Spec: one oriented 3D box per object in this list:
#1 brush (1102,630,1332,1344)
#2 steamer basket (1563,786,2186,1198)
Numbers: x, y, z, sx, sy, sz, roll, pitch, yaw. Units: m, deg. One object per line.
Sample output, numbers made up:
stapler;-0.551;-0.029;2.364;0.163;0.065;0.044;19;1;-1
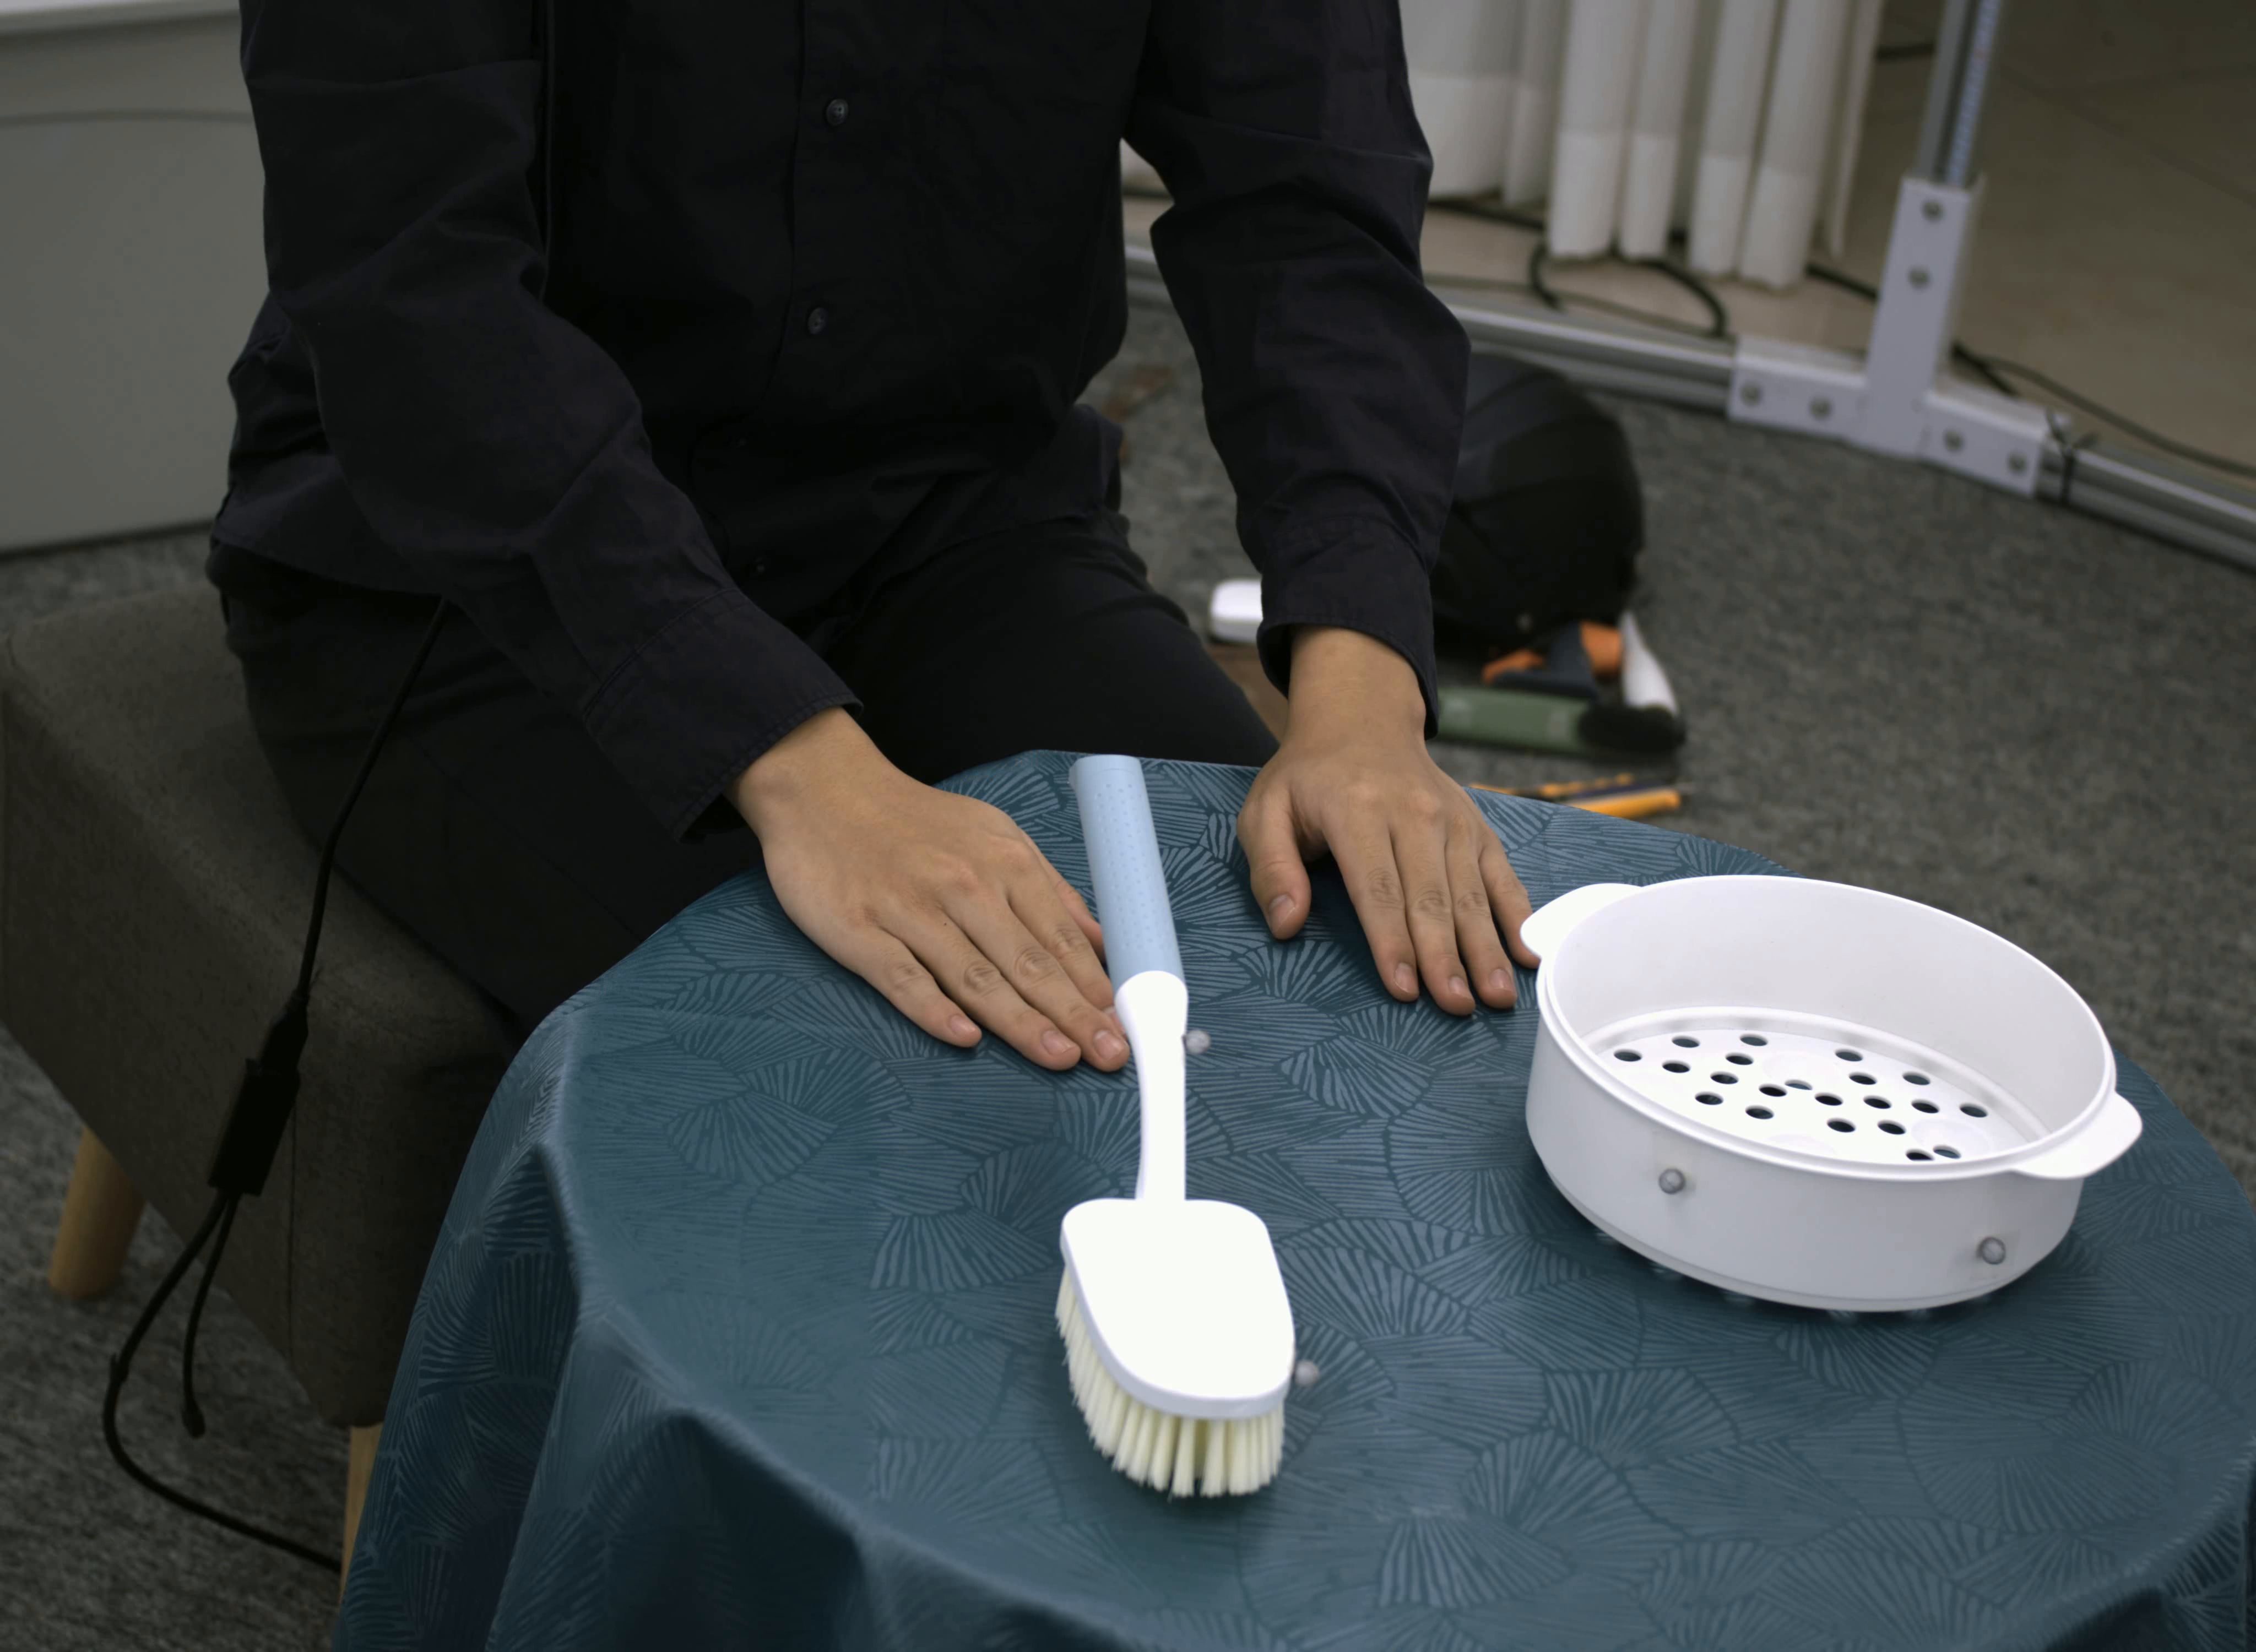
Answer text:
brush;0.023;0.062;1.782;0.082;0.084;0.328;35;27;-31
steamer basket;0.254;0.059;1.859;0.232;0.069;0.201;24;31;31
